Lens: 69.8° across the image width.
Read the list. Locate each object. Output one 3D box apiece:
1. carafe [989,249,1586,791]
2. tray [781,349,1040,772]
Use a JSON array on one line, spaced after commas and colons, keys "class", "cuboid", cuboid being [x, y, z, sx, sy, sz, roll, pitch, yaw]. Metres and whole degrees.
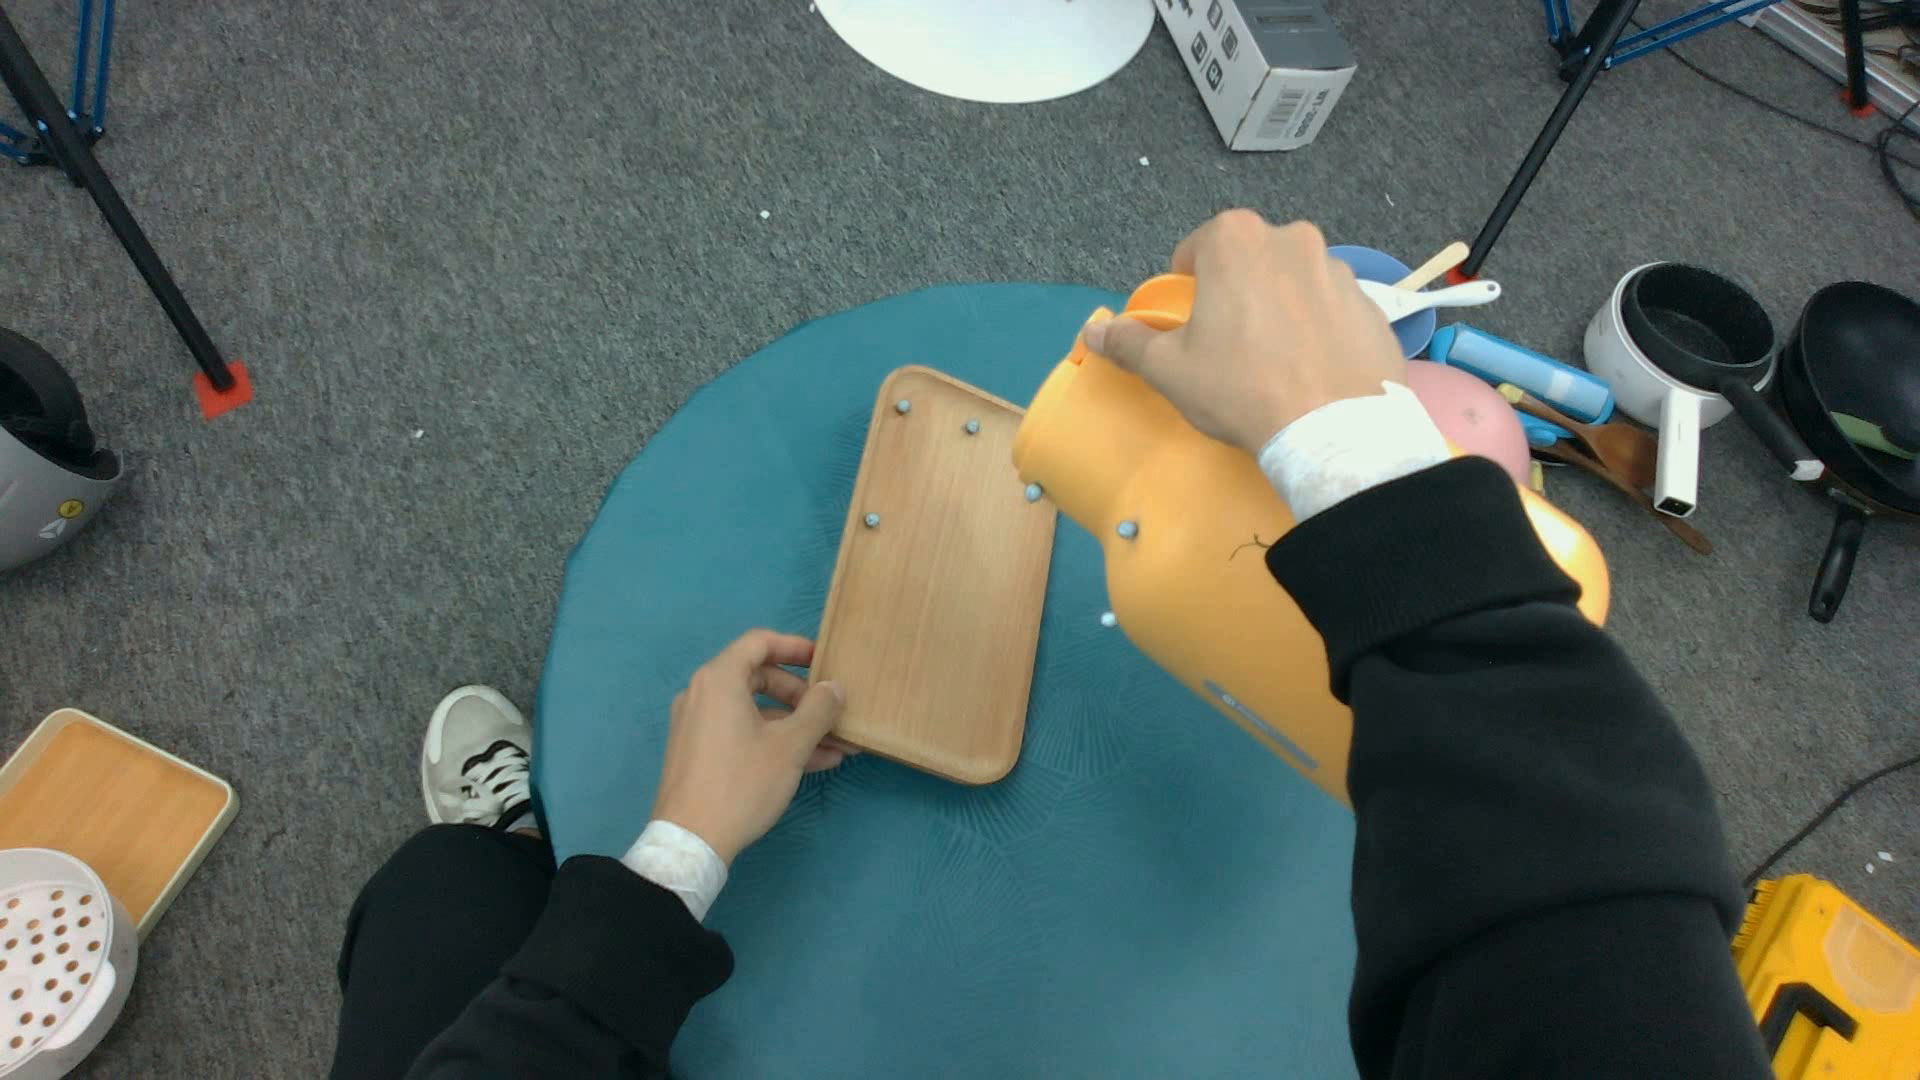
[{"class": "carafe", "cuboid": [0.139, -0.020, 0.620, 0.260, 0.201, 0.164, 33, 69, 10]}, {"class": "tray", "cuboid": [-0.022, 0.006, 0.793, 0.130, 0.023, 0.252, 21, 58, -16]}]
